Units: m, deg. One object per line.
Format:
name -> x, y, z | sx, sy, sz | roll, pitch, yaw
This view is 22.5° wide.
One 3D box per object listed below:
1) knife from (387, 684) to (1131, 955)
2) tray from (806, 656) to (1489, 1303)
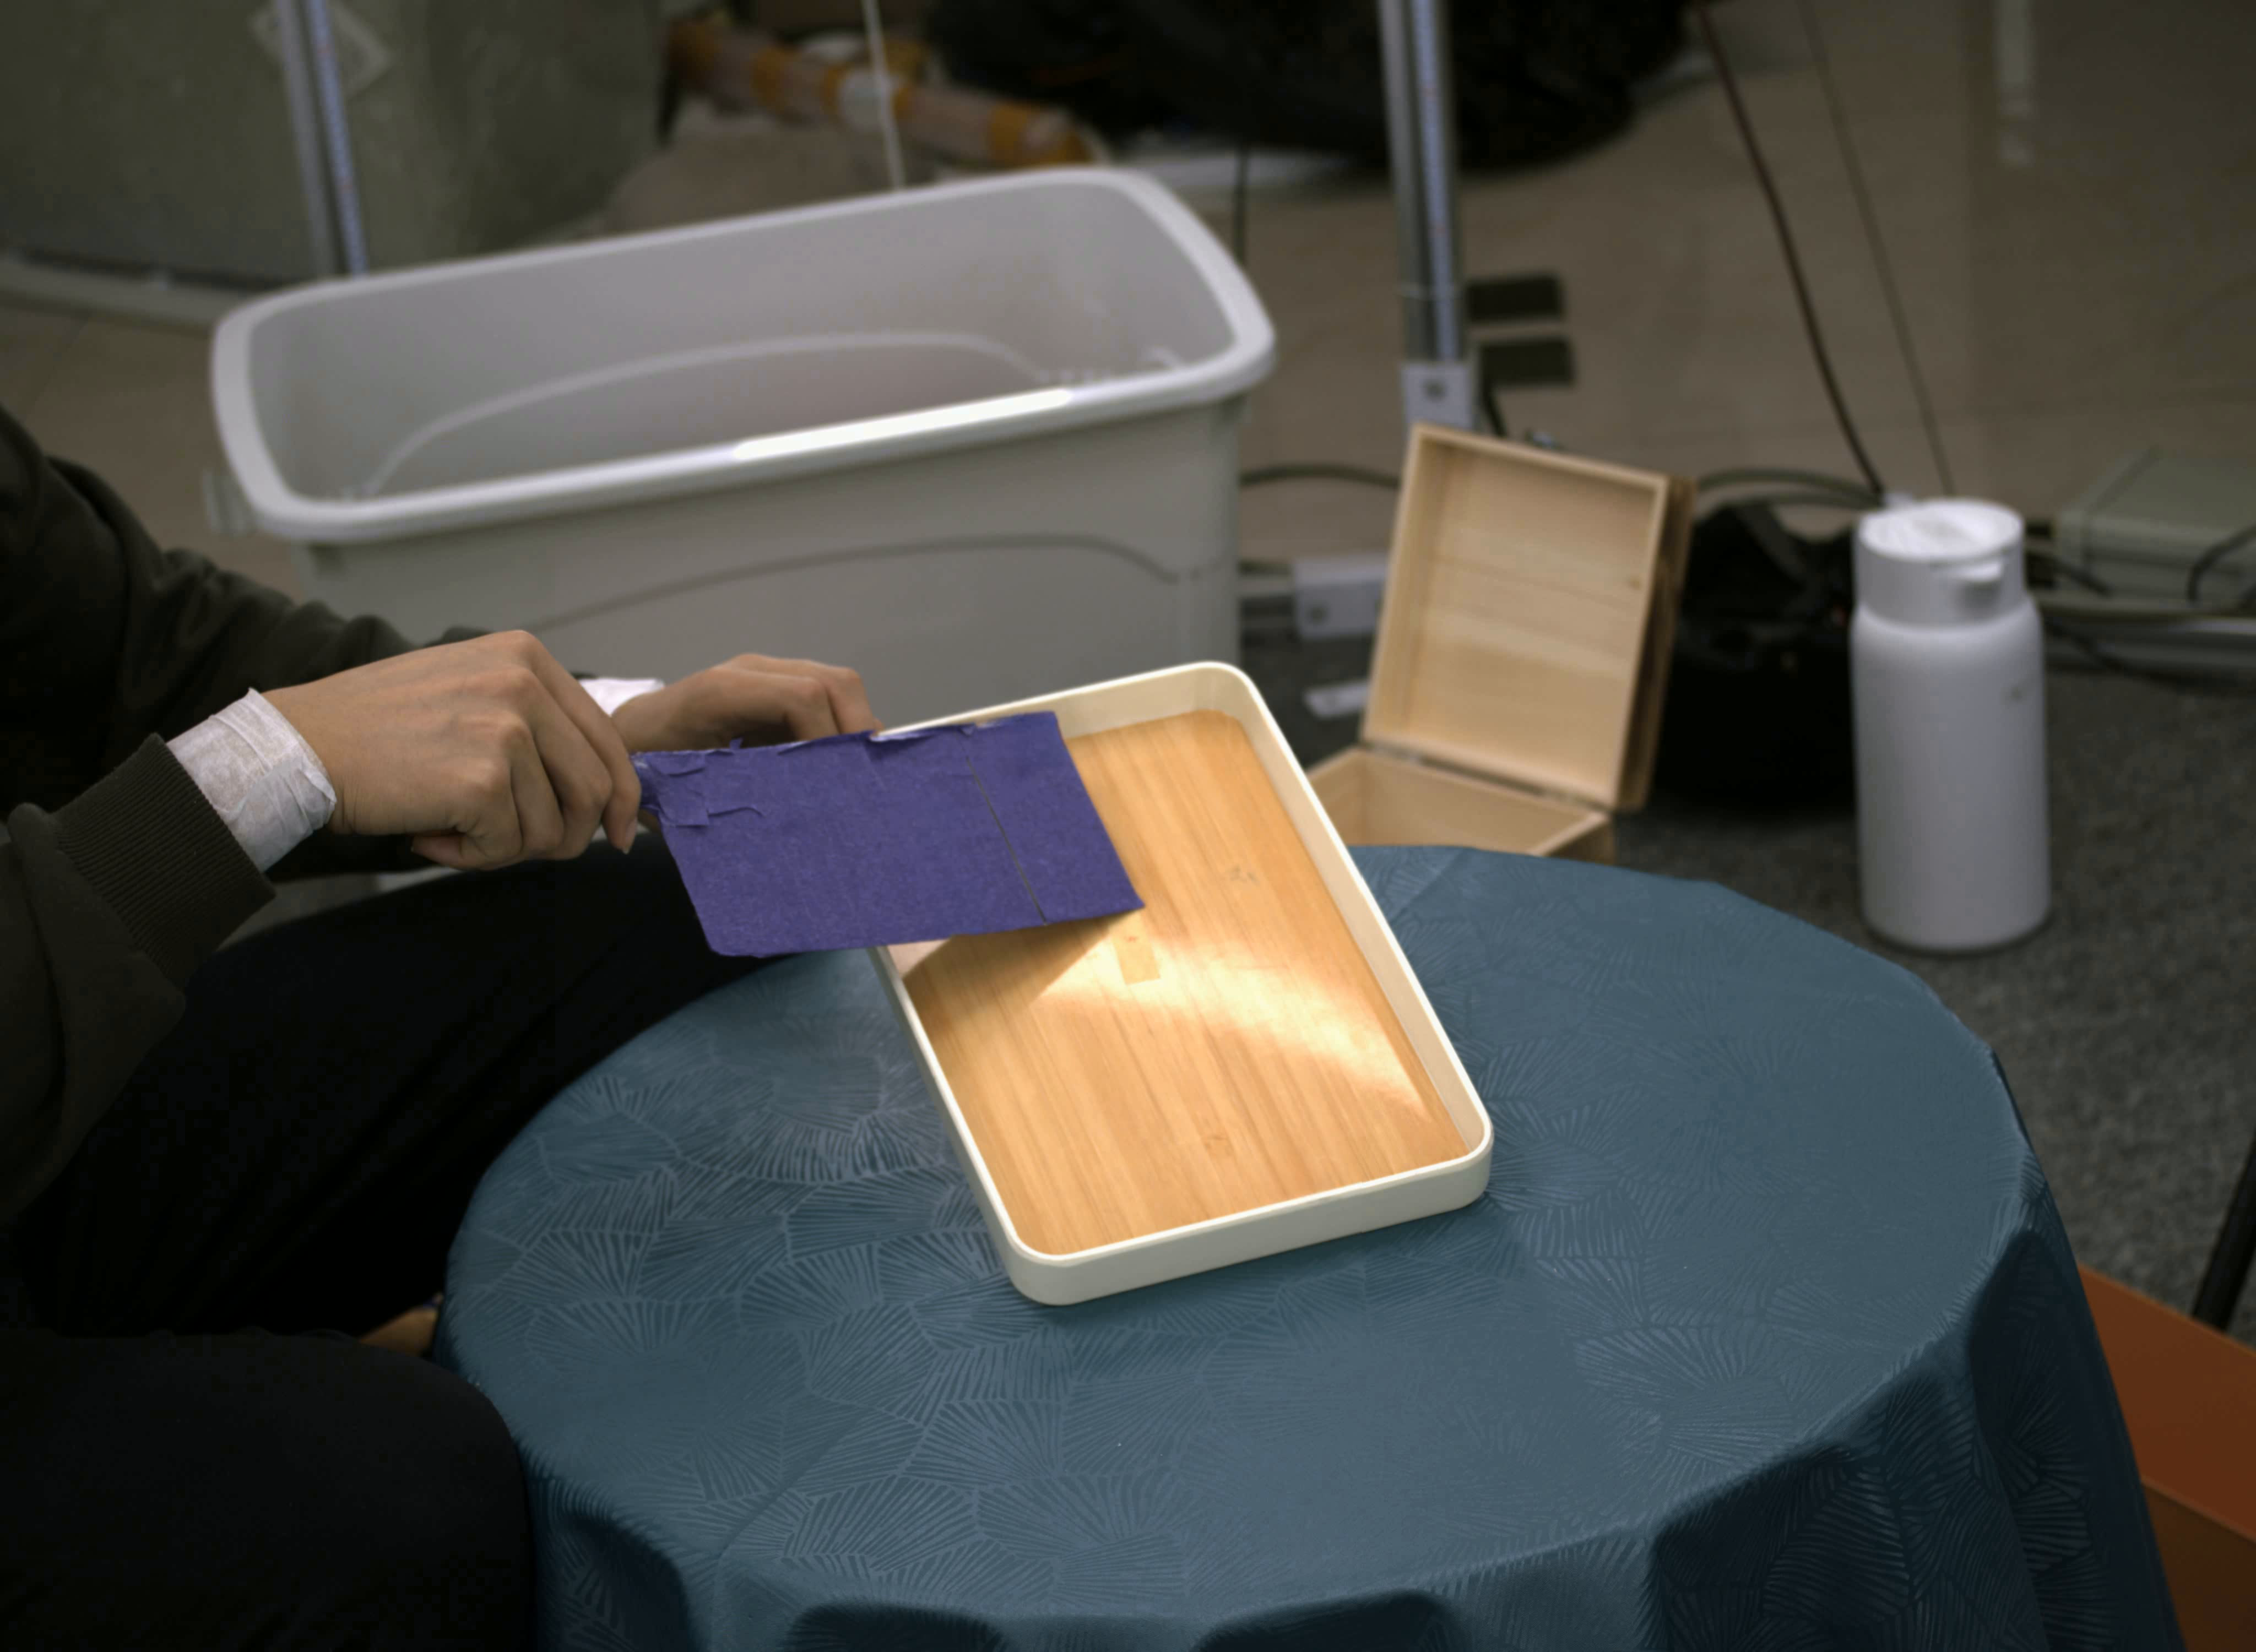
knife -> -0.129, 0.002, 2.135 | 0.314, 0.032, 0.103 | -9, 64, -38
tray -> 0.002, 0.053, 2.186 | 0.191, 0.028, 0.295 | -13, 46, -14
